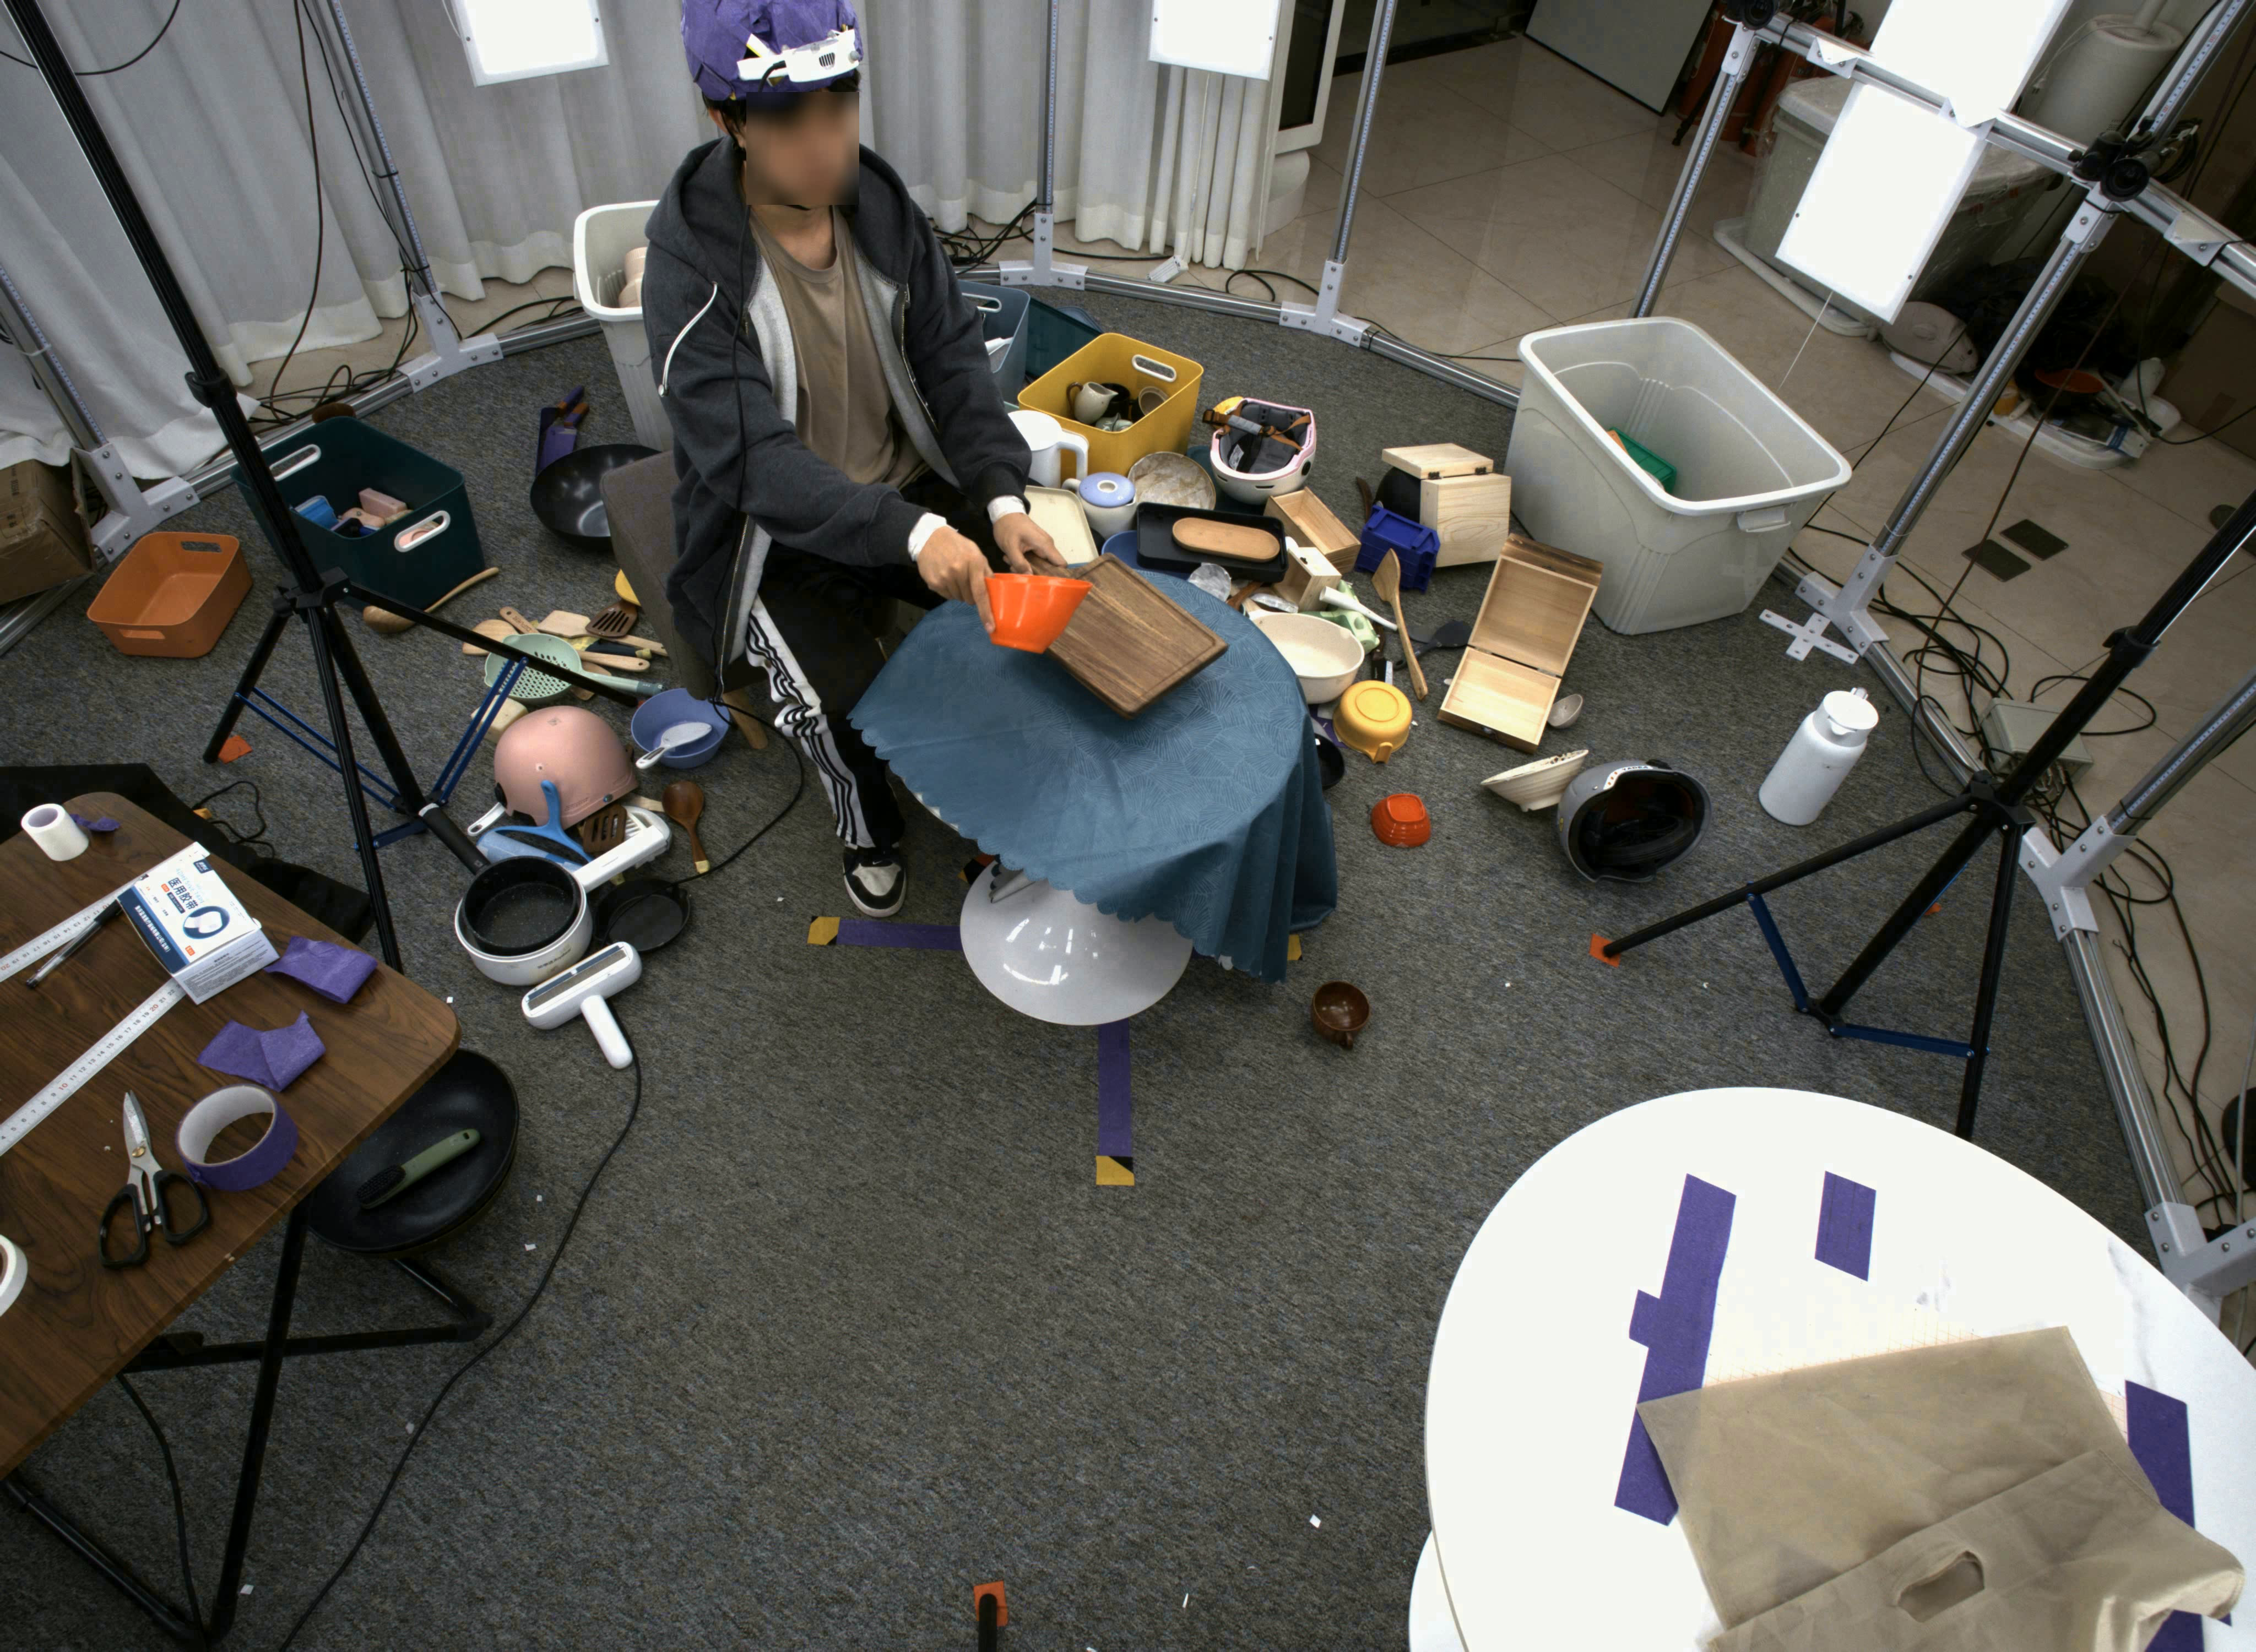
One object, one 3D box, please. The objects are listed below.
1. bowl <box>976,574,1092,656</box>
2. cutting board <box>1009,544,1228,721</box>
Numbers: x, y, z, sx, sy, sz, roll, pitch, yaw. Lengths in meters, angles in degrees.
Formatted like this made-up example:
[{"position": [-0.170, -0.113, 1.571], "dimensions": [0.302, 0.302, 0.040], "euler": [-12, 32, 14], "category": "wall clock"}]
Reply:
[{"position": [-0.127, -0.274, 1.649], "dimensions": [0.148, 0.104, 0.149], "euler": [11, 7, -1], "category": "bowl"}, {"position": [-0.046, -0.305, 1.851], "dimensions": [0.203, 0.022, 0.357], "euler": [-37, 63, -25], "category": "cutting board"}]
